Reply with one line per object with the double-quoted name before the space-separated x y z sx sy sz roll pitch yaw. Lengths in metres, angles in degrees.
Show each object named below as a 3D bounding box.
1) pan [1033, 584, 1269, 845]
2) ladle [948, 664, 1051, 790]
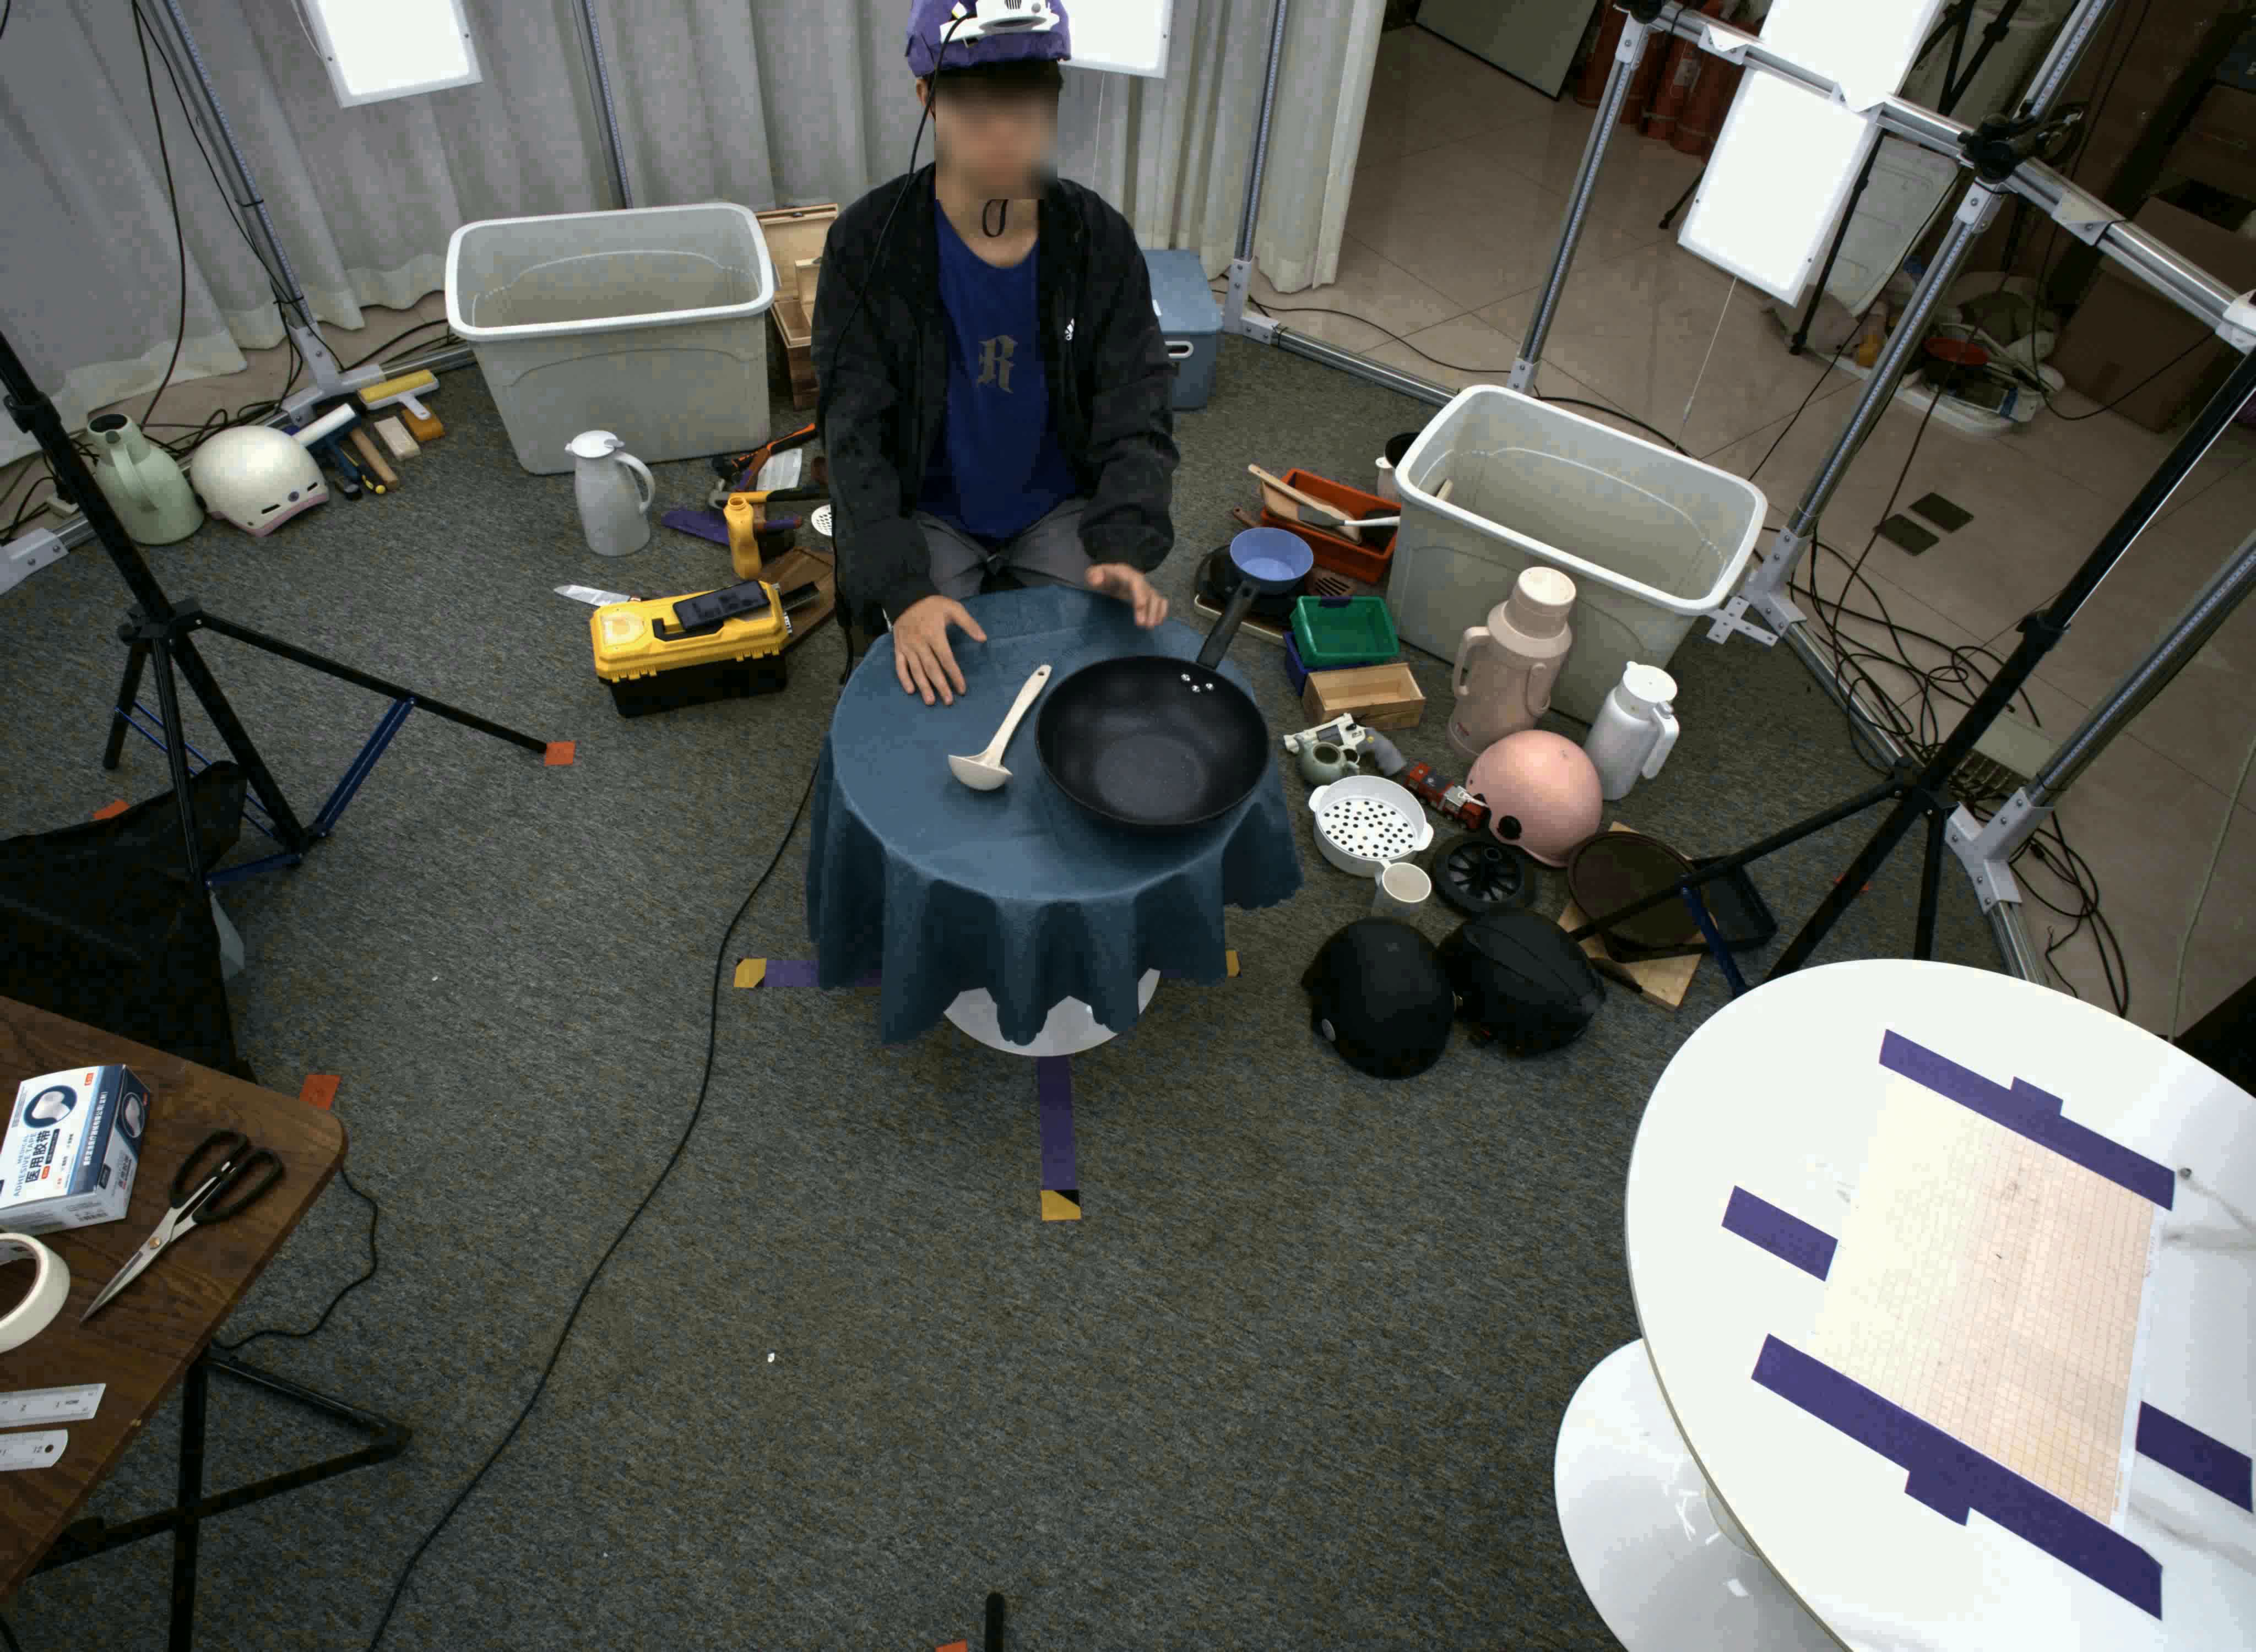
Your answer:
"pan" 0.067 -0.150 1.739 0.312 0.109 0.485 23 53 14
"ladle" -0.160 -0.156 1.754 0.089 0.067 0.280 10 48 14
